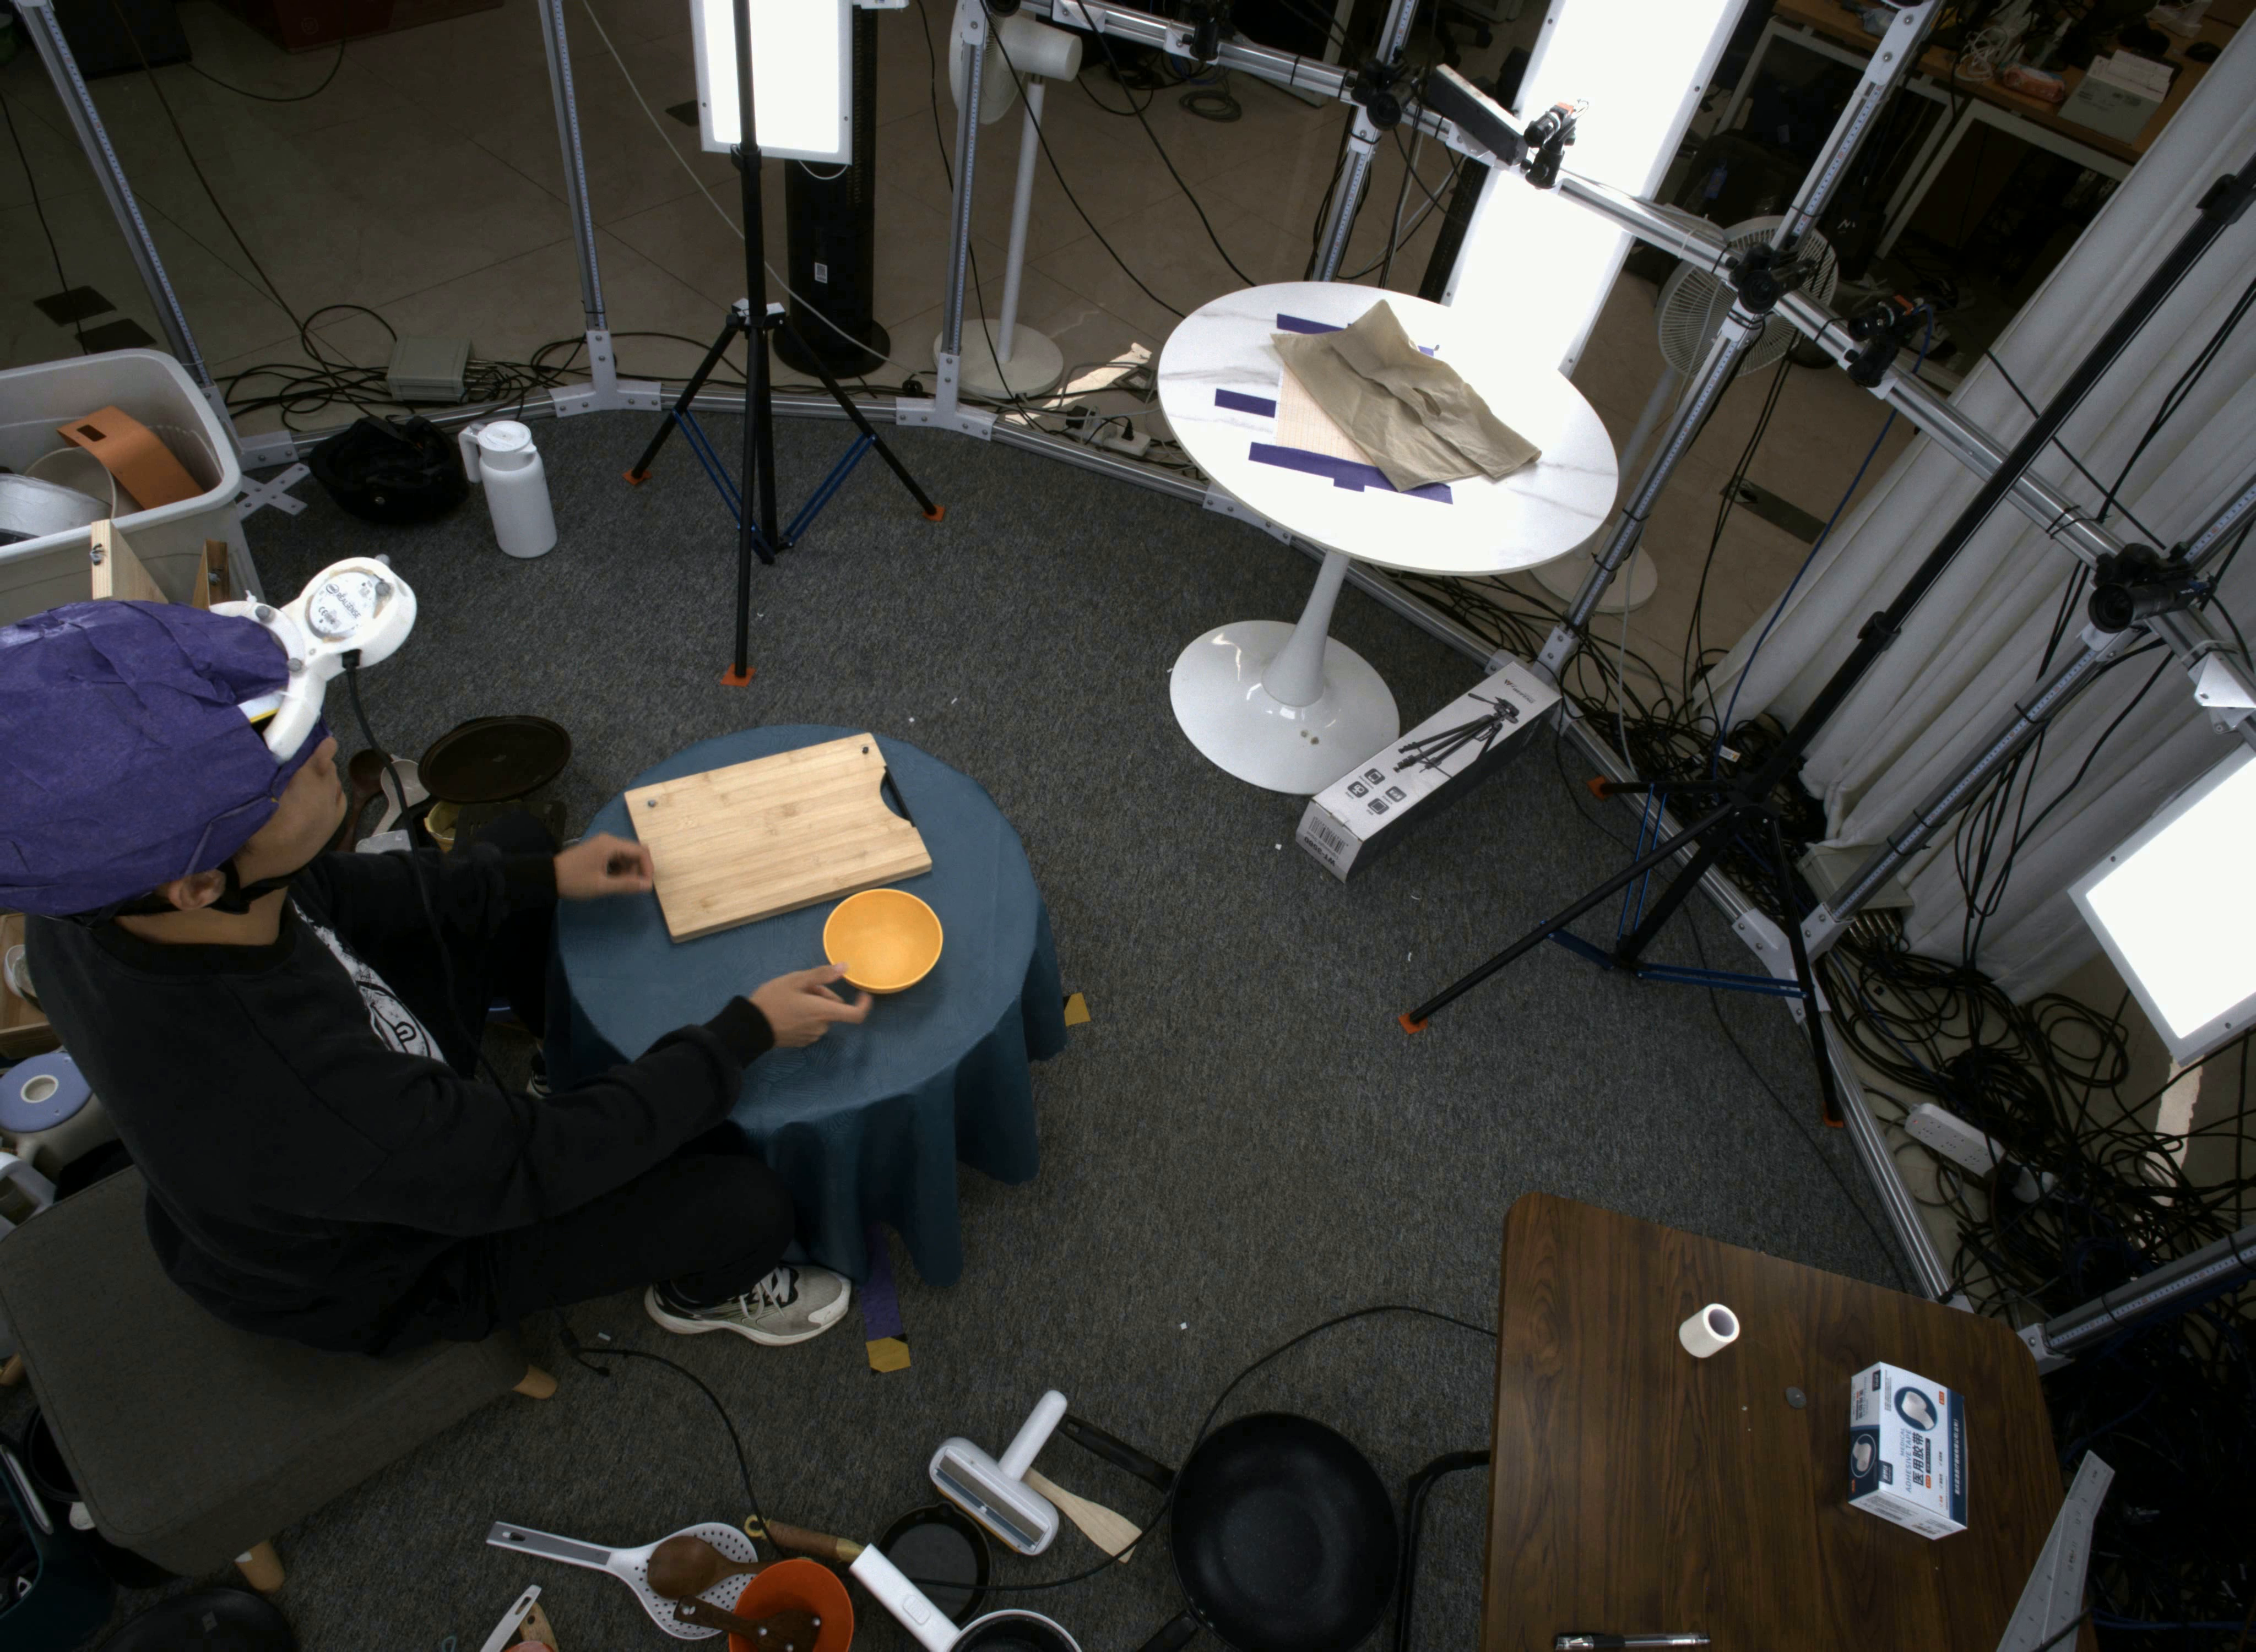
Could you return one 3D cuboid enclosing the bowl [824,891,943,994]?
[{"bbox_3d":[-0.302,0.153,1.611,0.144,0.061,0.142,6,51,-6],"label":"bowl"}]

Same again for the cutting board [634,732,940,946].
[{"bbox_3d":[-0.454,0.006,1.706,0.350,0.024,0.244,-17,60,-25],"label":"cutting board"}]
